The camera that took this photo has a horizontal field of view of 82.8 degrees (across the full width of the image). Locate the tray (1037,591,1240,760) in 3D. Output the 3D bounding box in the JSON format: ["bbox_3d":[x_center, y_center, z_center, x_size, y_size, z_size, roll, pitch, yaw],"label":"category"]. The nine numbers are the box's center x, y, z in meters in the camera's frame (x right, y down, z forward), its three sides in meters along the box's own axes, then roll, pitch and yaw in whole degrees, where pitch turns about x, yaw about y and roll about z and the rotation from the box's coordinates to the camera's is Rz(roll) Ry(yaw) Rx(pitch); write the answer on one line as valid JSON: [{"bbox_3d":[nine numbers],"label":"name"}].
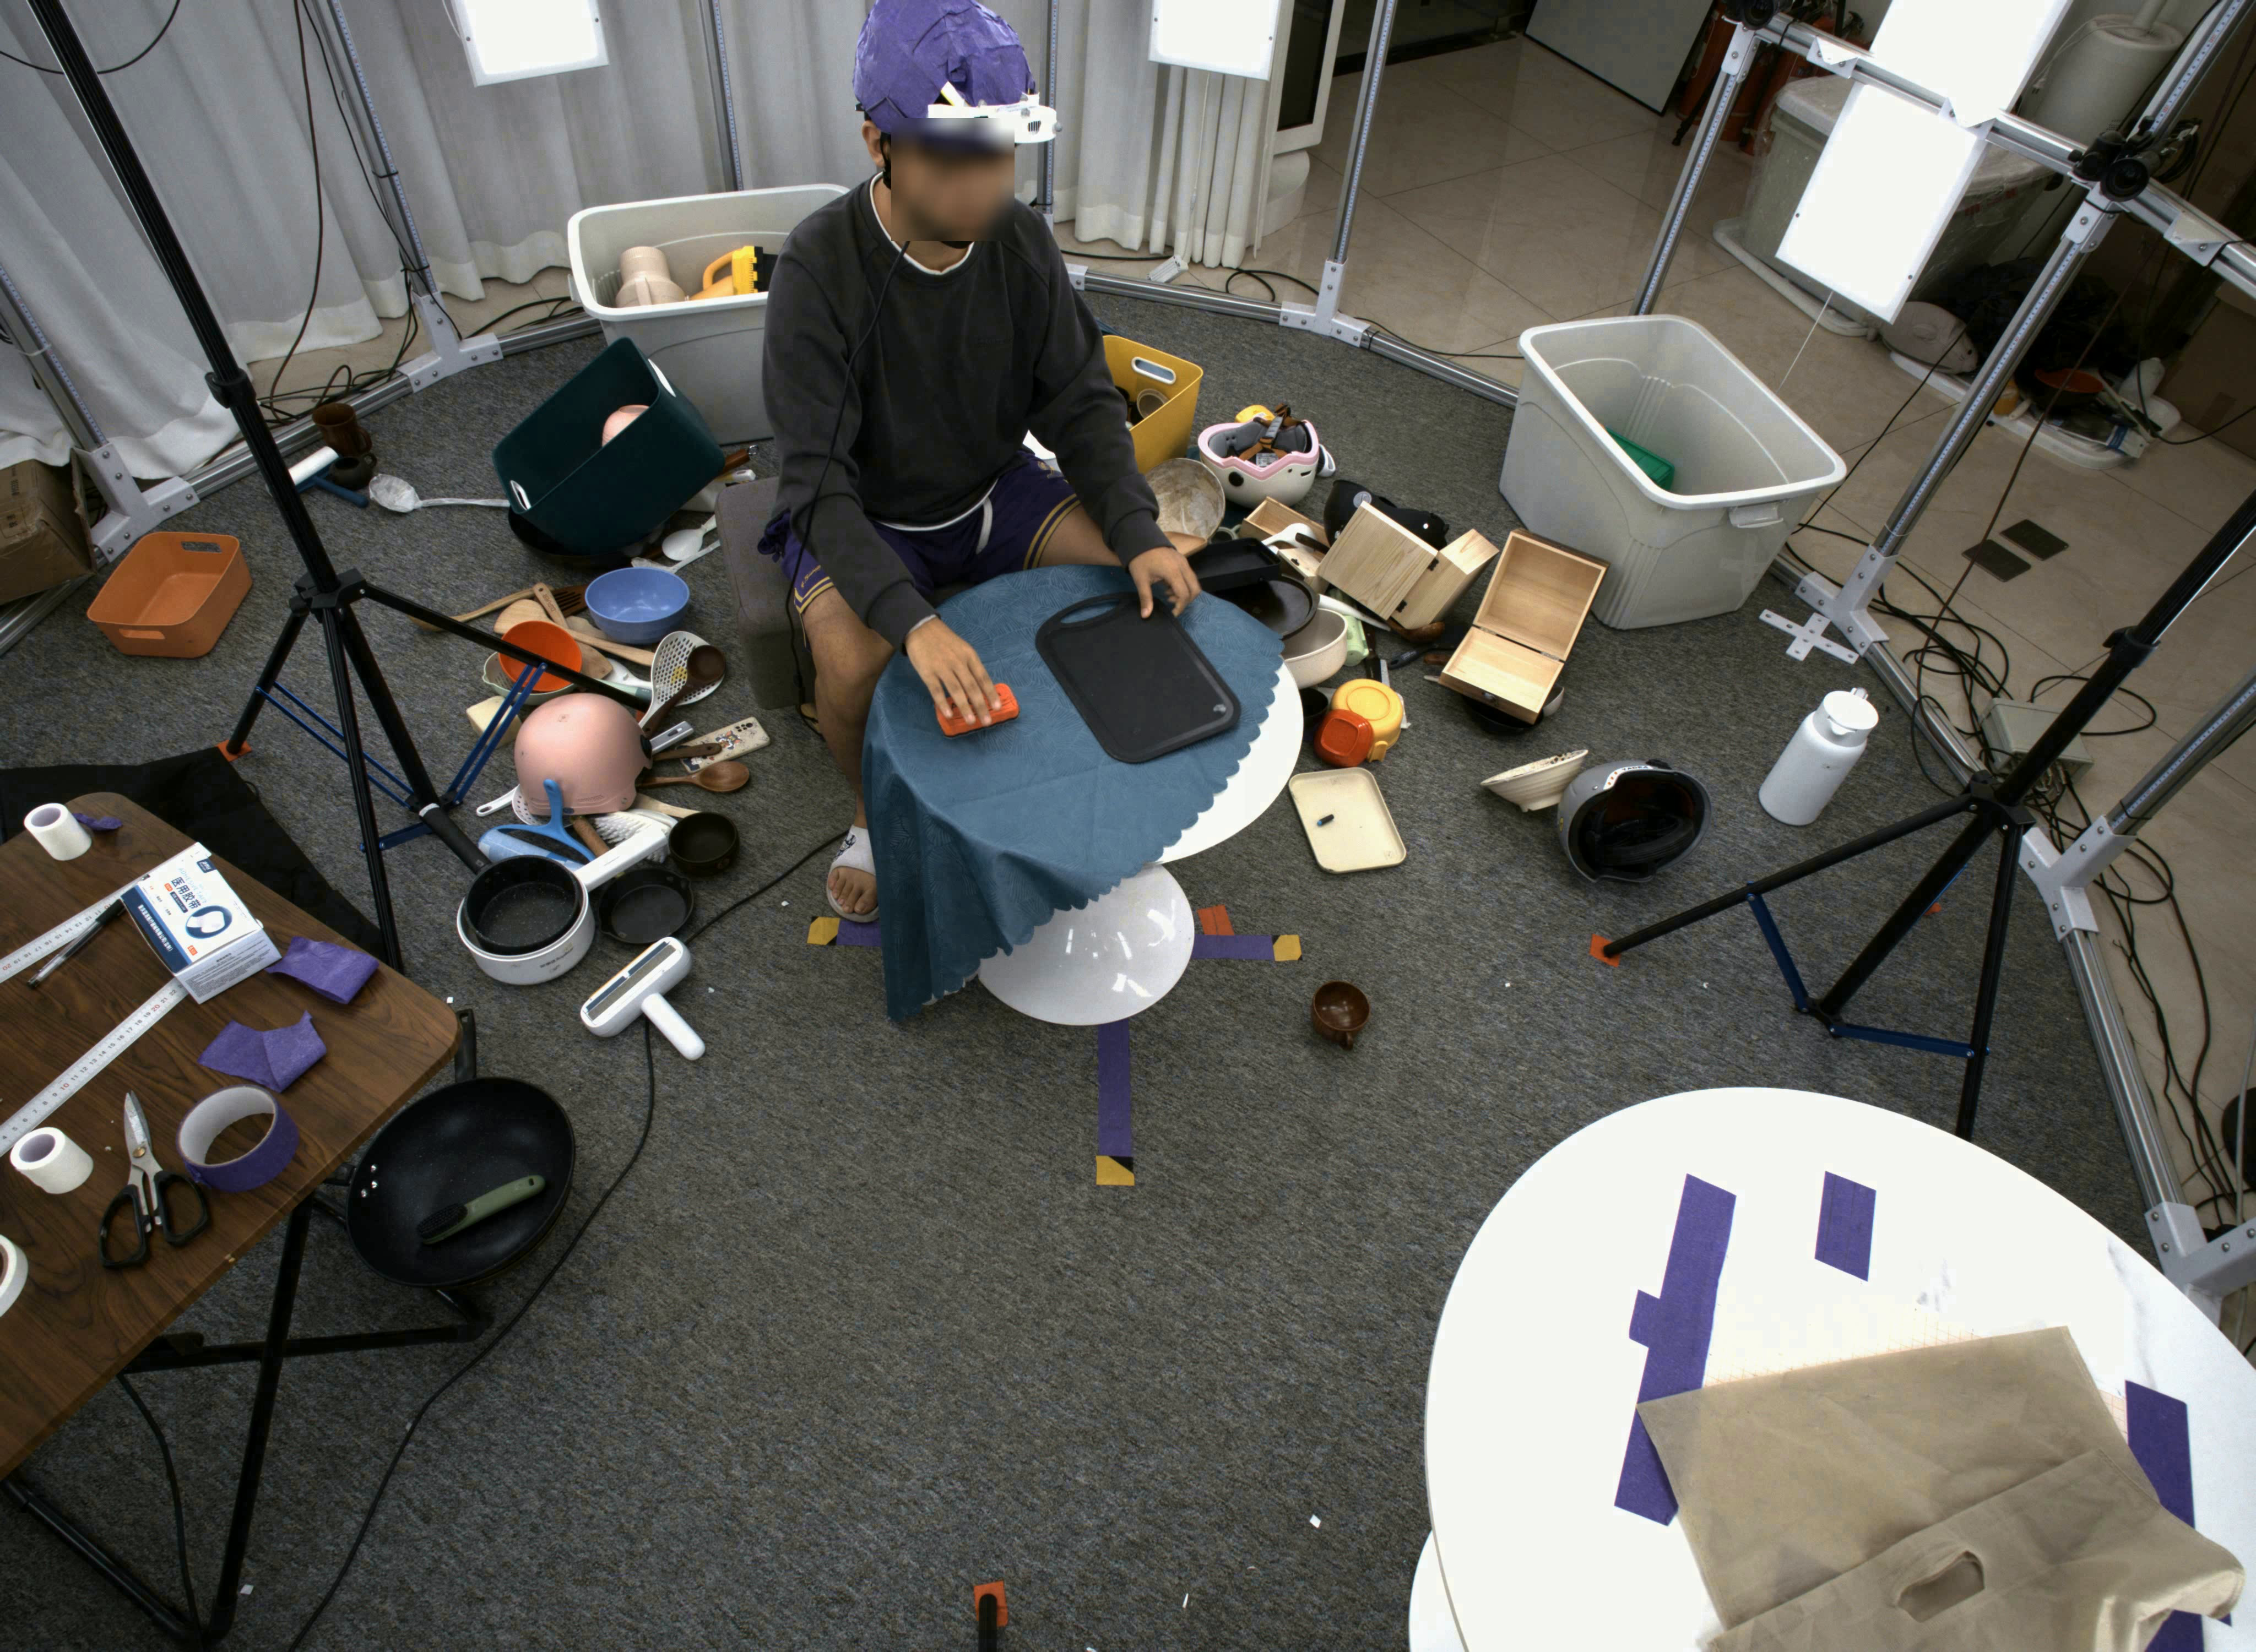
[{"bbox_3d":[0.007,-0.229,1.850,0.211,0.009,0.332,-22,54,-15],"label":"tray"}]

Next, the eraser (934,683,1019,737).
[{"bbox_3d":[-0.209,-0.161,1.773,0.108,0.022,0.060,-18,52,-20],"label":"eraser"}]
